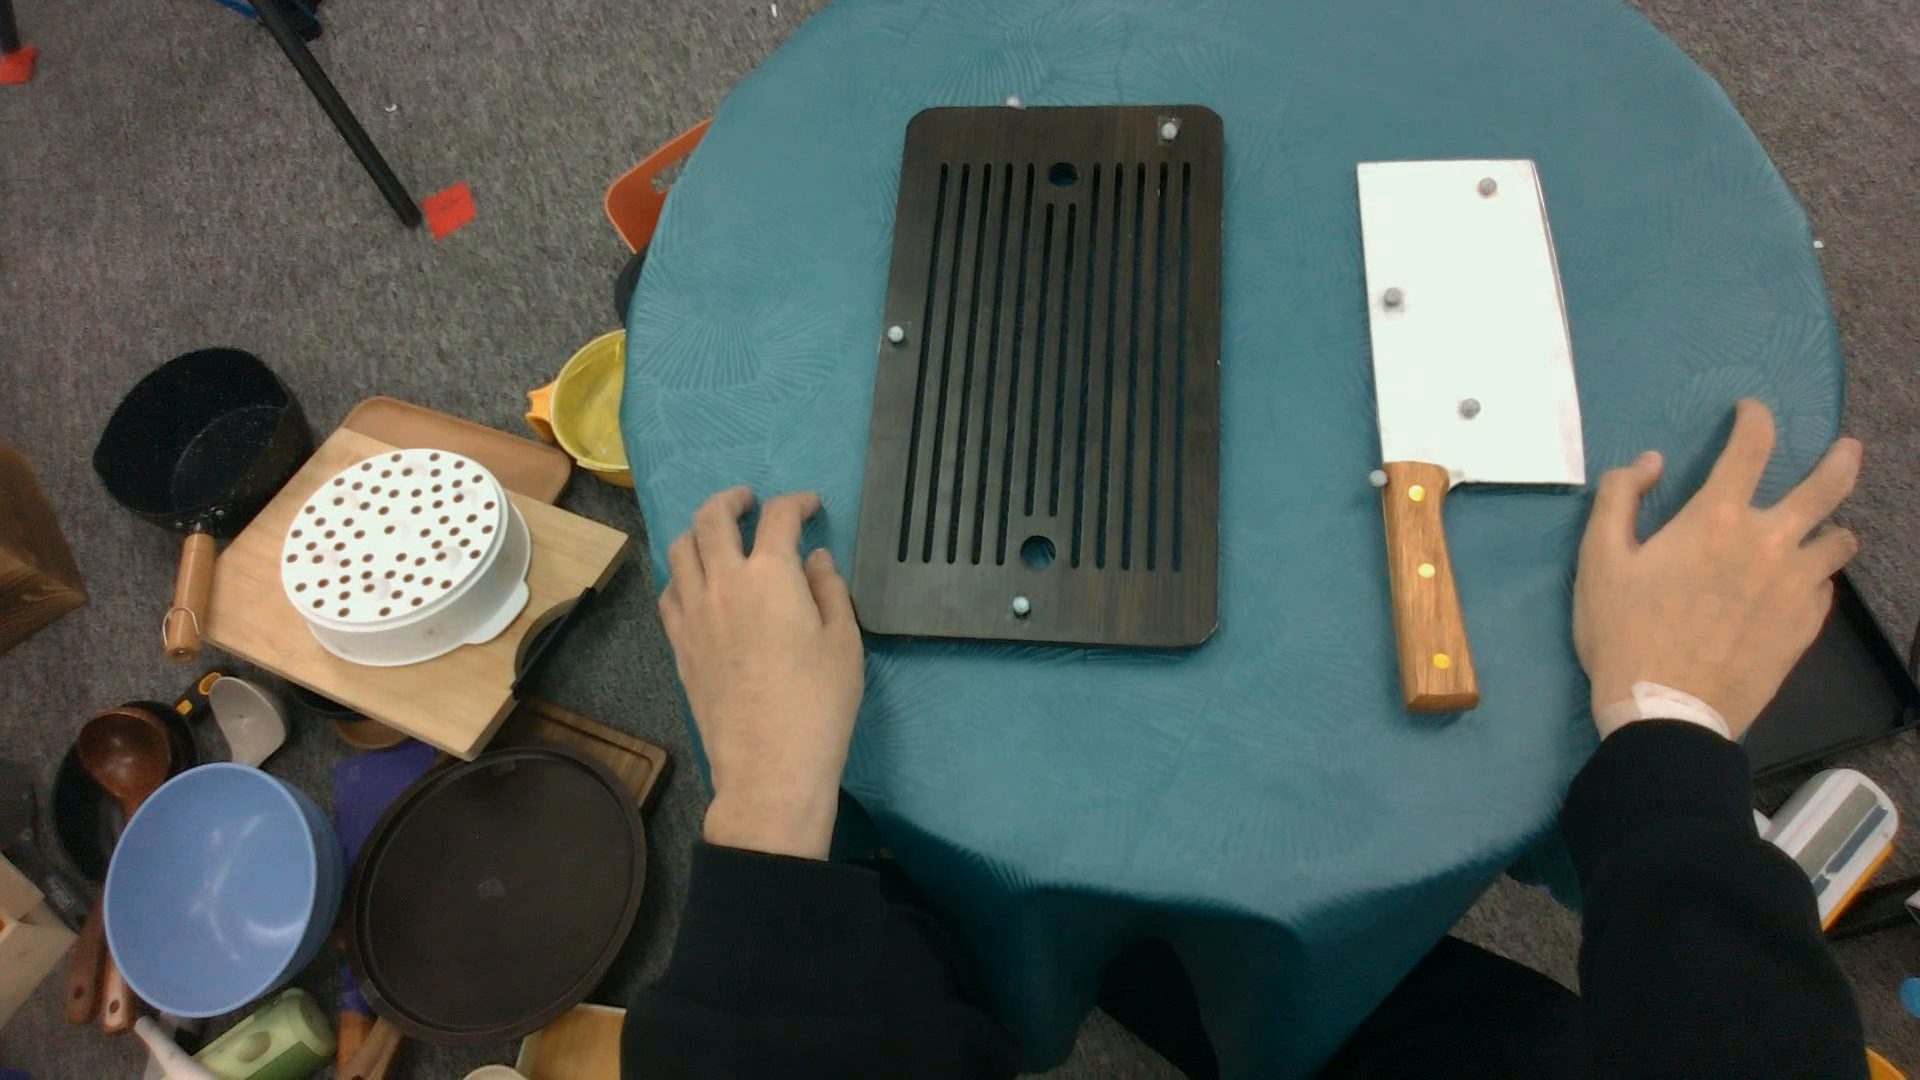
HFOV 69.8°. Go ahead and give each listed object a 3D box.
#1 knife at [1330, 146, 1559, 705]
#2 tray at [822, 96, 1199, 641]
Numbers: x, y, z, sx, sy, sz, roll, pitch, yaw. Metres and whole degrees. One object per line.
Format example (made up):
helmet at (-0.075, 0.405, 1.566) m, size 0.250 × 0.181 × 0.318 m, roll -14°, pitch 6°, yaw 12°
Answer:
knife at (0.232, -0.068, 0.653) m, size 0.093 × 0.021 × 0.307 m, roll 0°, pitch 64°, yaw 4°
tray at (0.032, -0.096, 0.684) m, size 0.170 × 0.018 × 0.307 m, roll 2°, pitch 66°, yaw 6°
